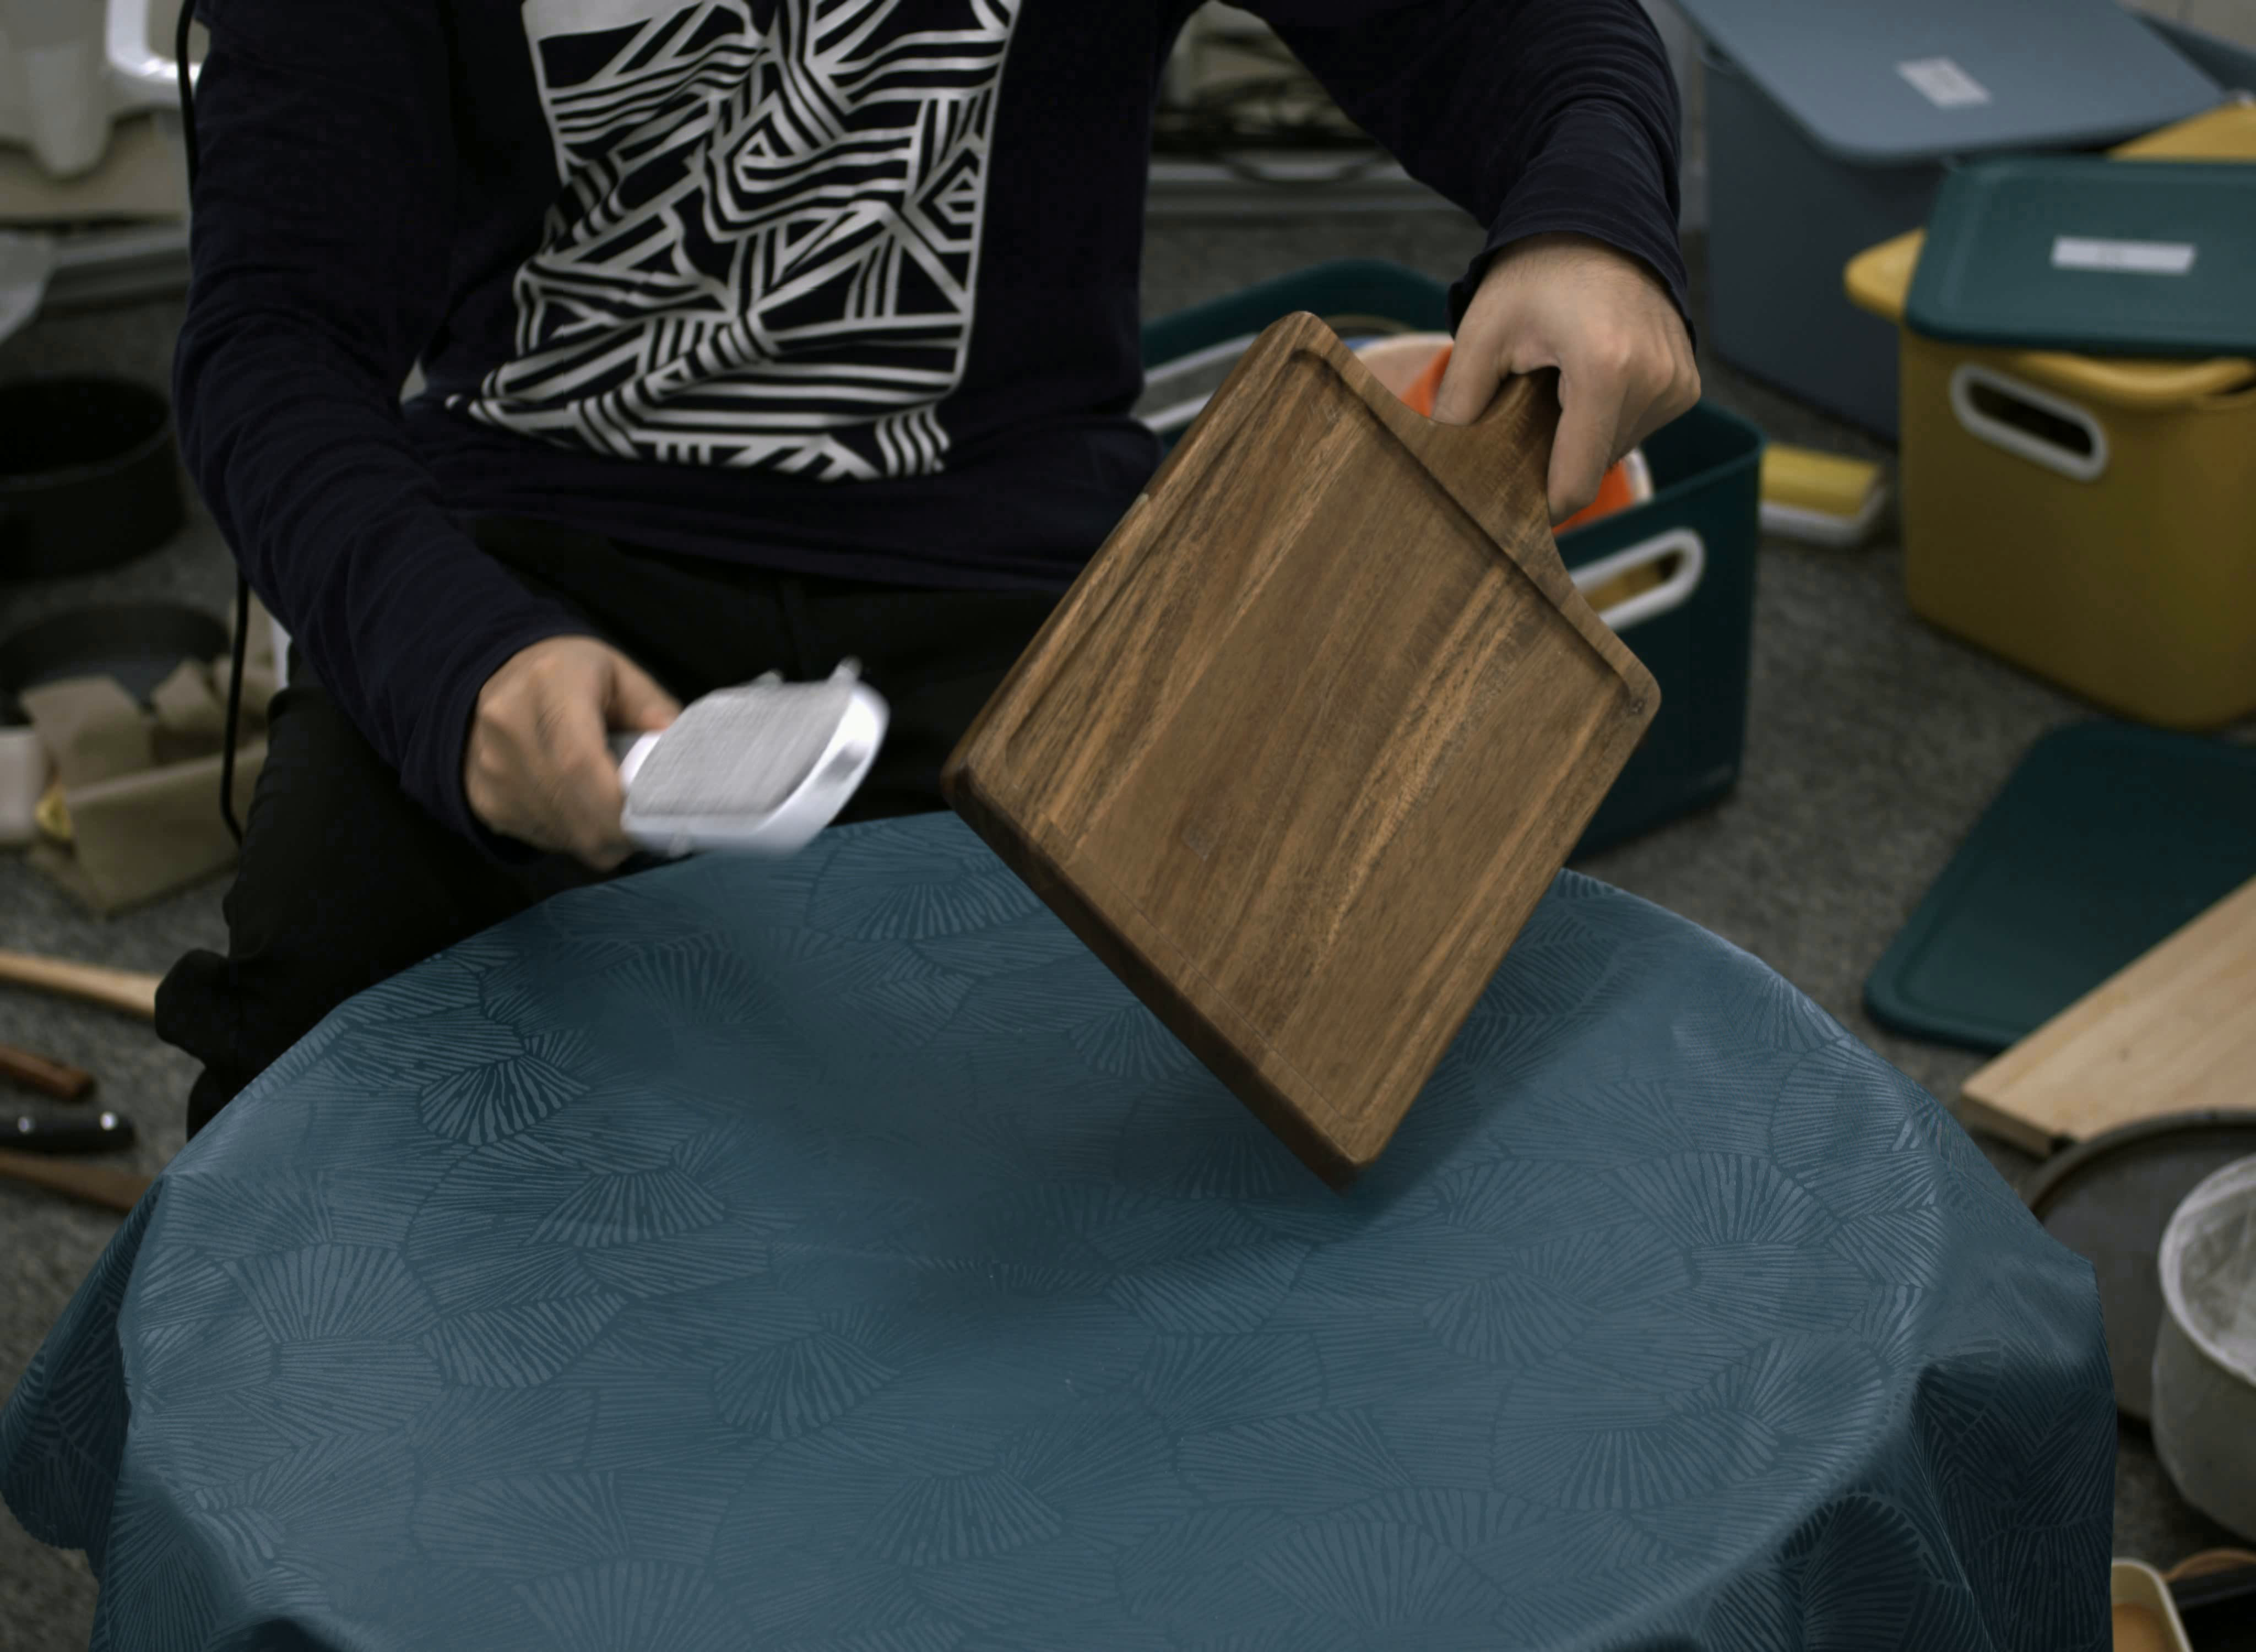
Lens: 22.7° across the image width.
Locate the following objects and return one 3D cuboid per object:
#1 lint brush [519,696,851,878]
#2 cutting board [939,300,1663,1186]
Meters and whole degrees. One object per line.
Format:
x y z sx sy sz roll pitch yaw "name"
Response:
-0.152 -0.015 1.870 0.021 0.060 0.307 32 -10 -19 "lint brush"
0.087 -0.063 1.926 0.023 0.200 0.359 -30 20 49 "cutting board"
